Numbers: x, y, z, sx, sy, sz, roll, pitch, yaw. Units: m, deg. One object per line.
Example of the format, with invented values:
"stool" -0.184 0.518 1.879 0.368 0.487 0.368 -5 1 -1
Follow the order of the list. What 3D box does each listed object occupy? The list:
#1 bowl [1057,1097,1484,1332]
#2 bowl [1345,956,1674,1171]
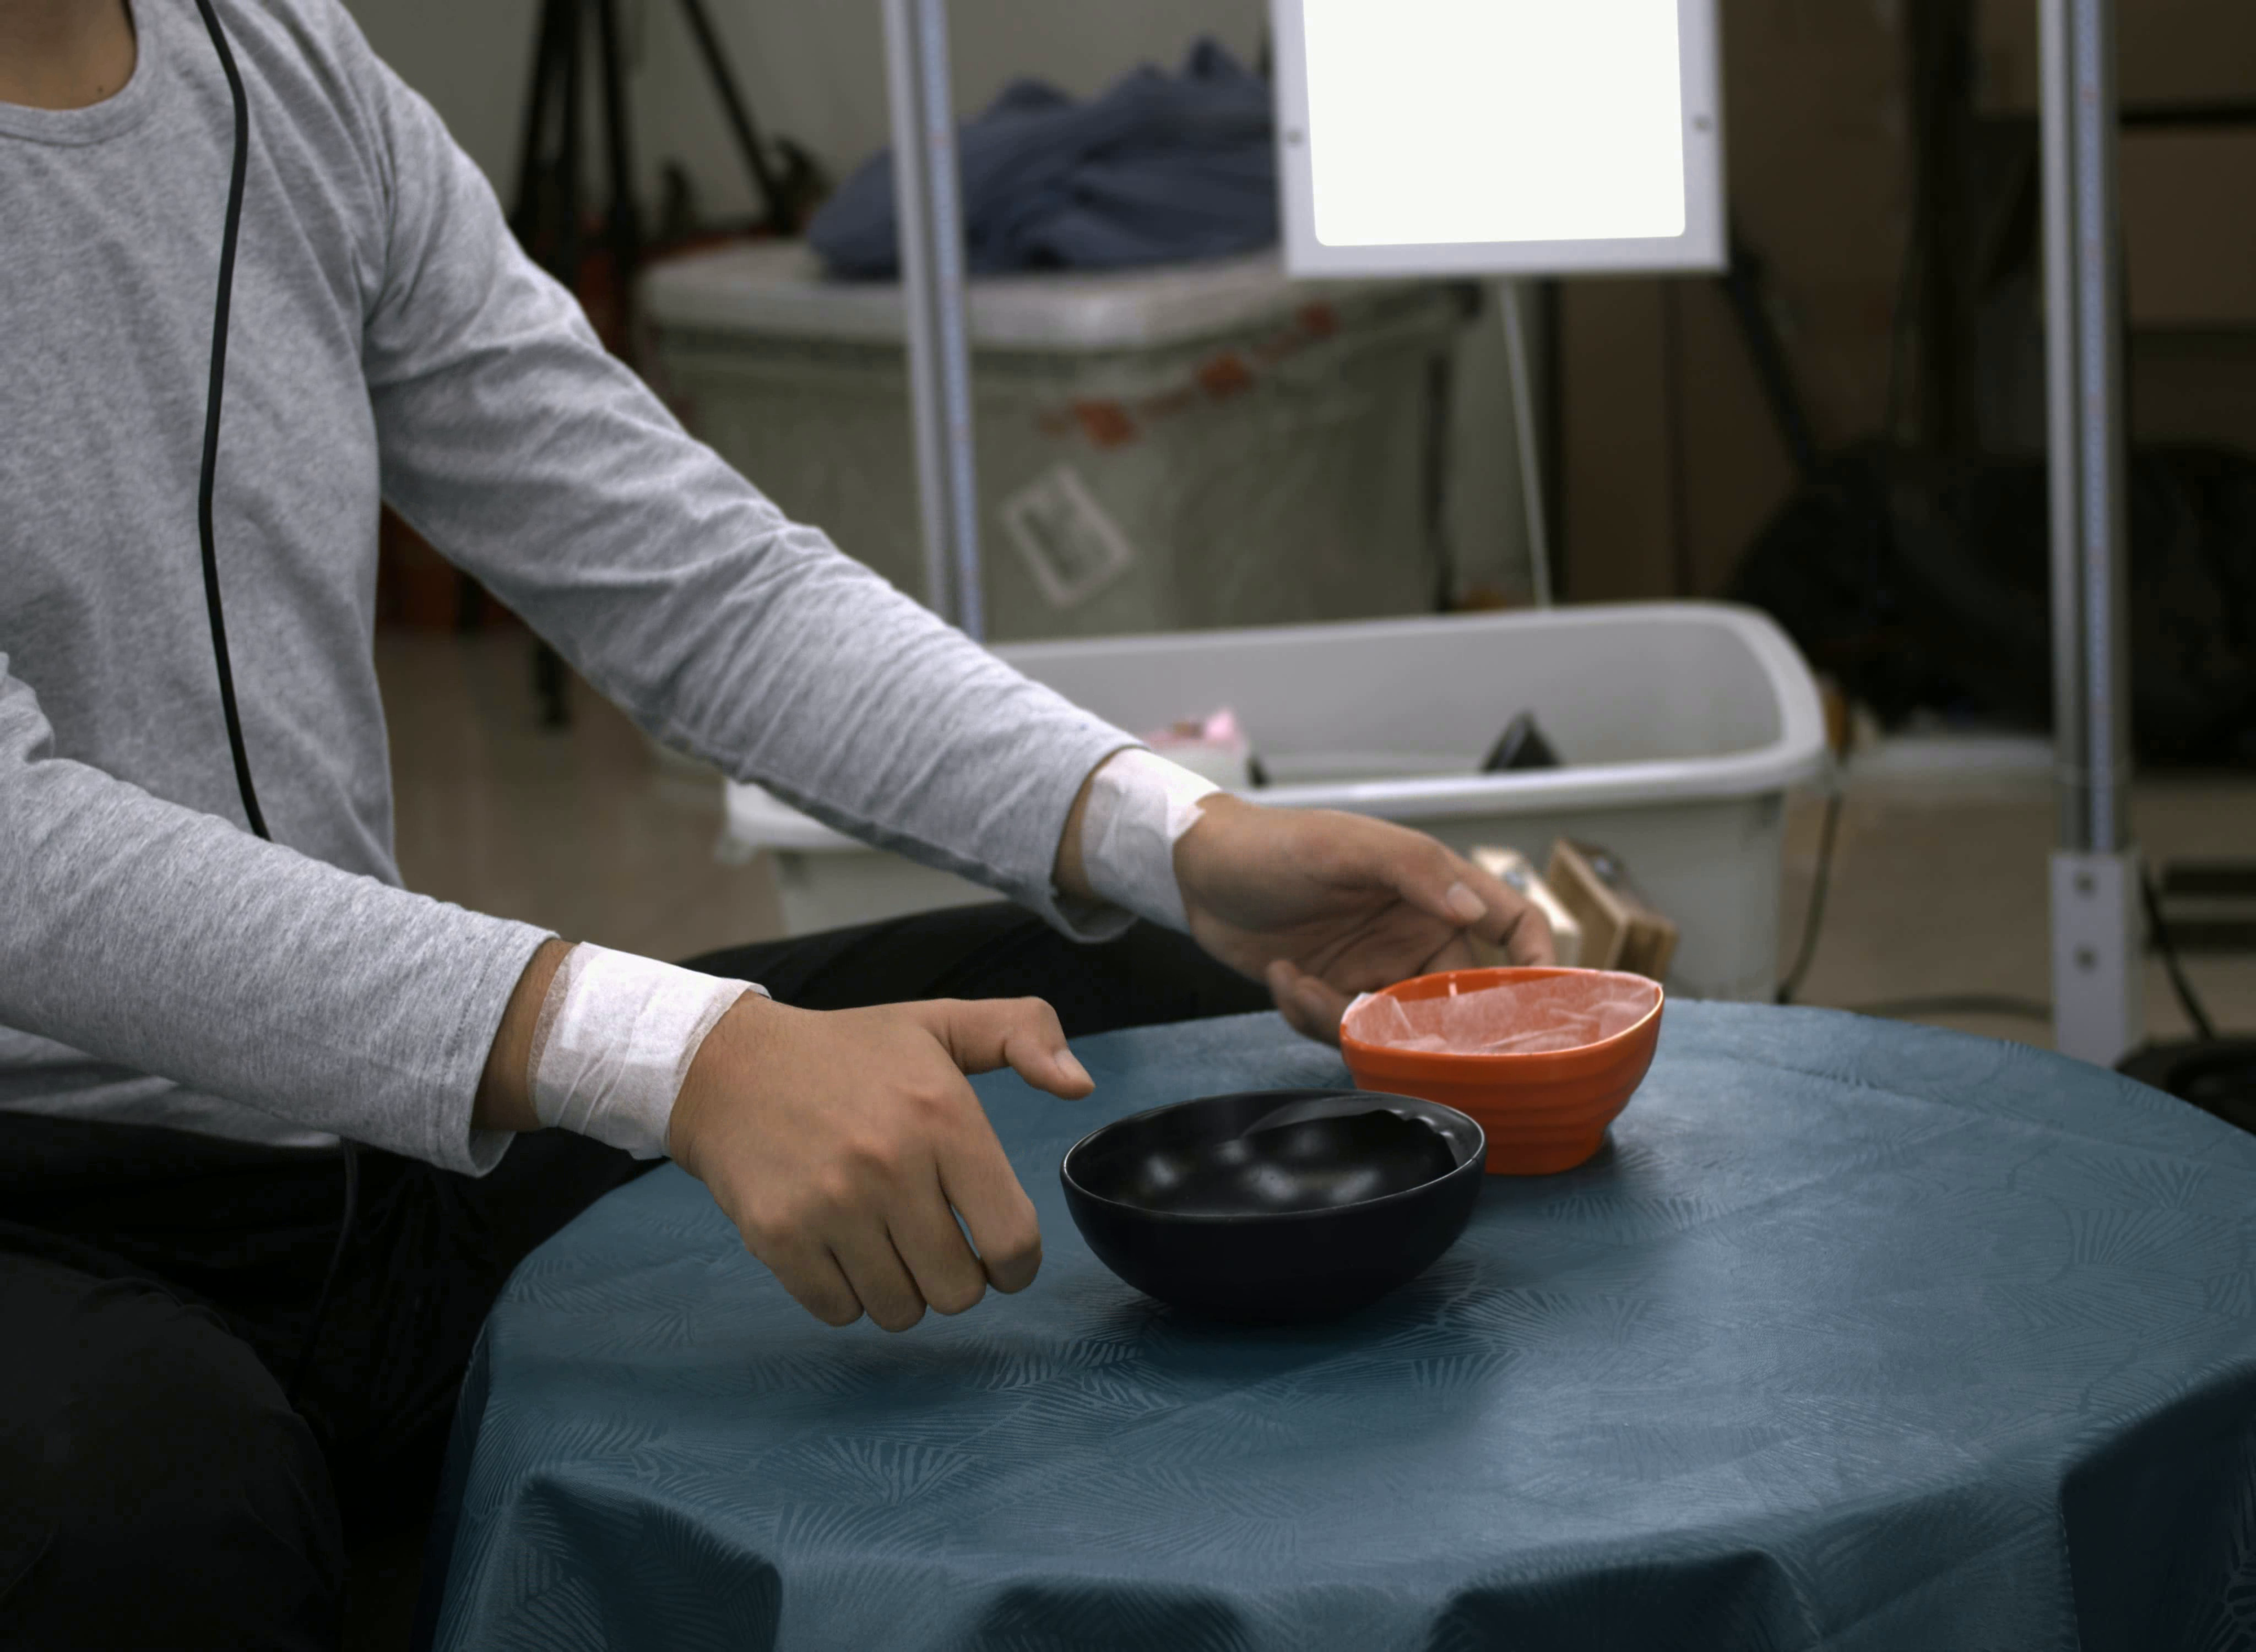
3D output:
"bowl" 0.048 0.129 1.778 0.140 0.050 0.140 -7 11 0
"bowl" 0.134 0.085 1.911 0.118 0.051 0.119 -4 16 0
